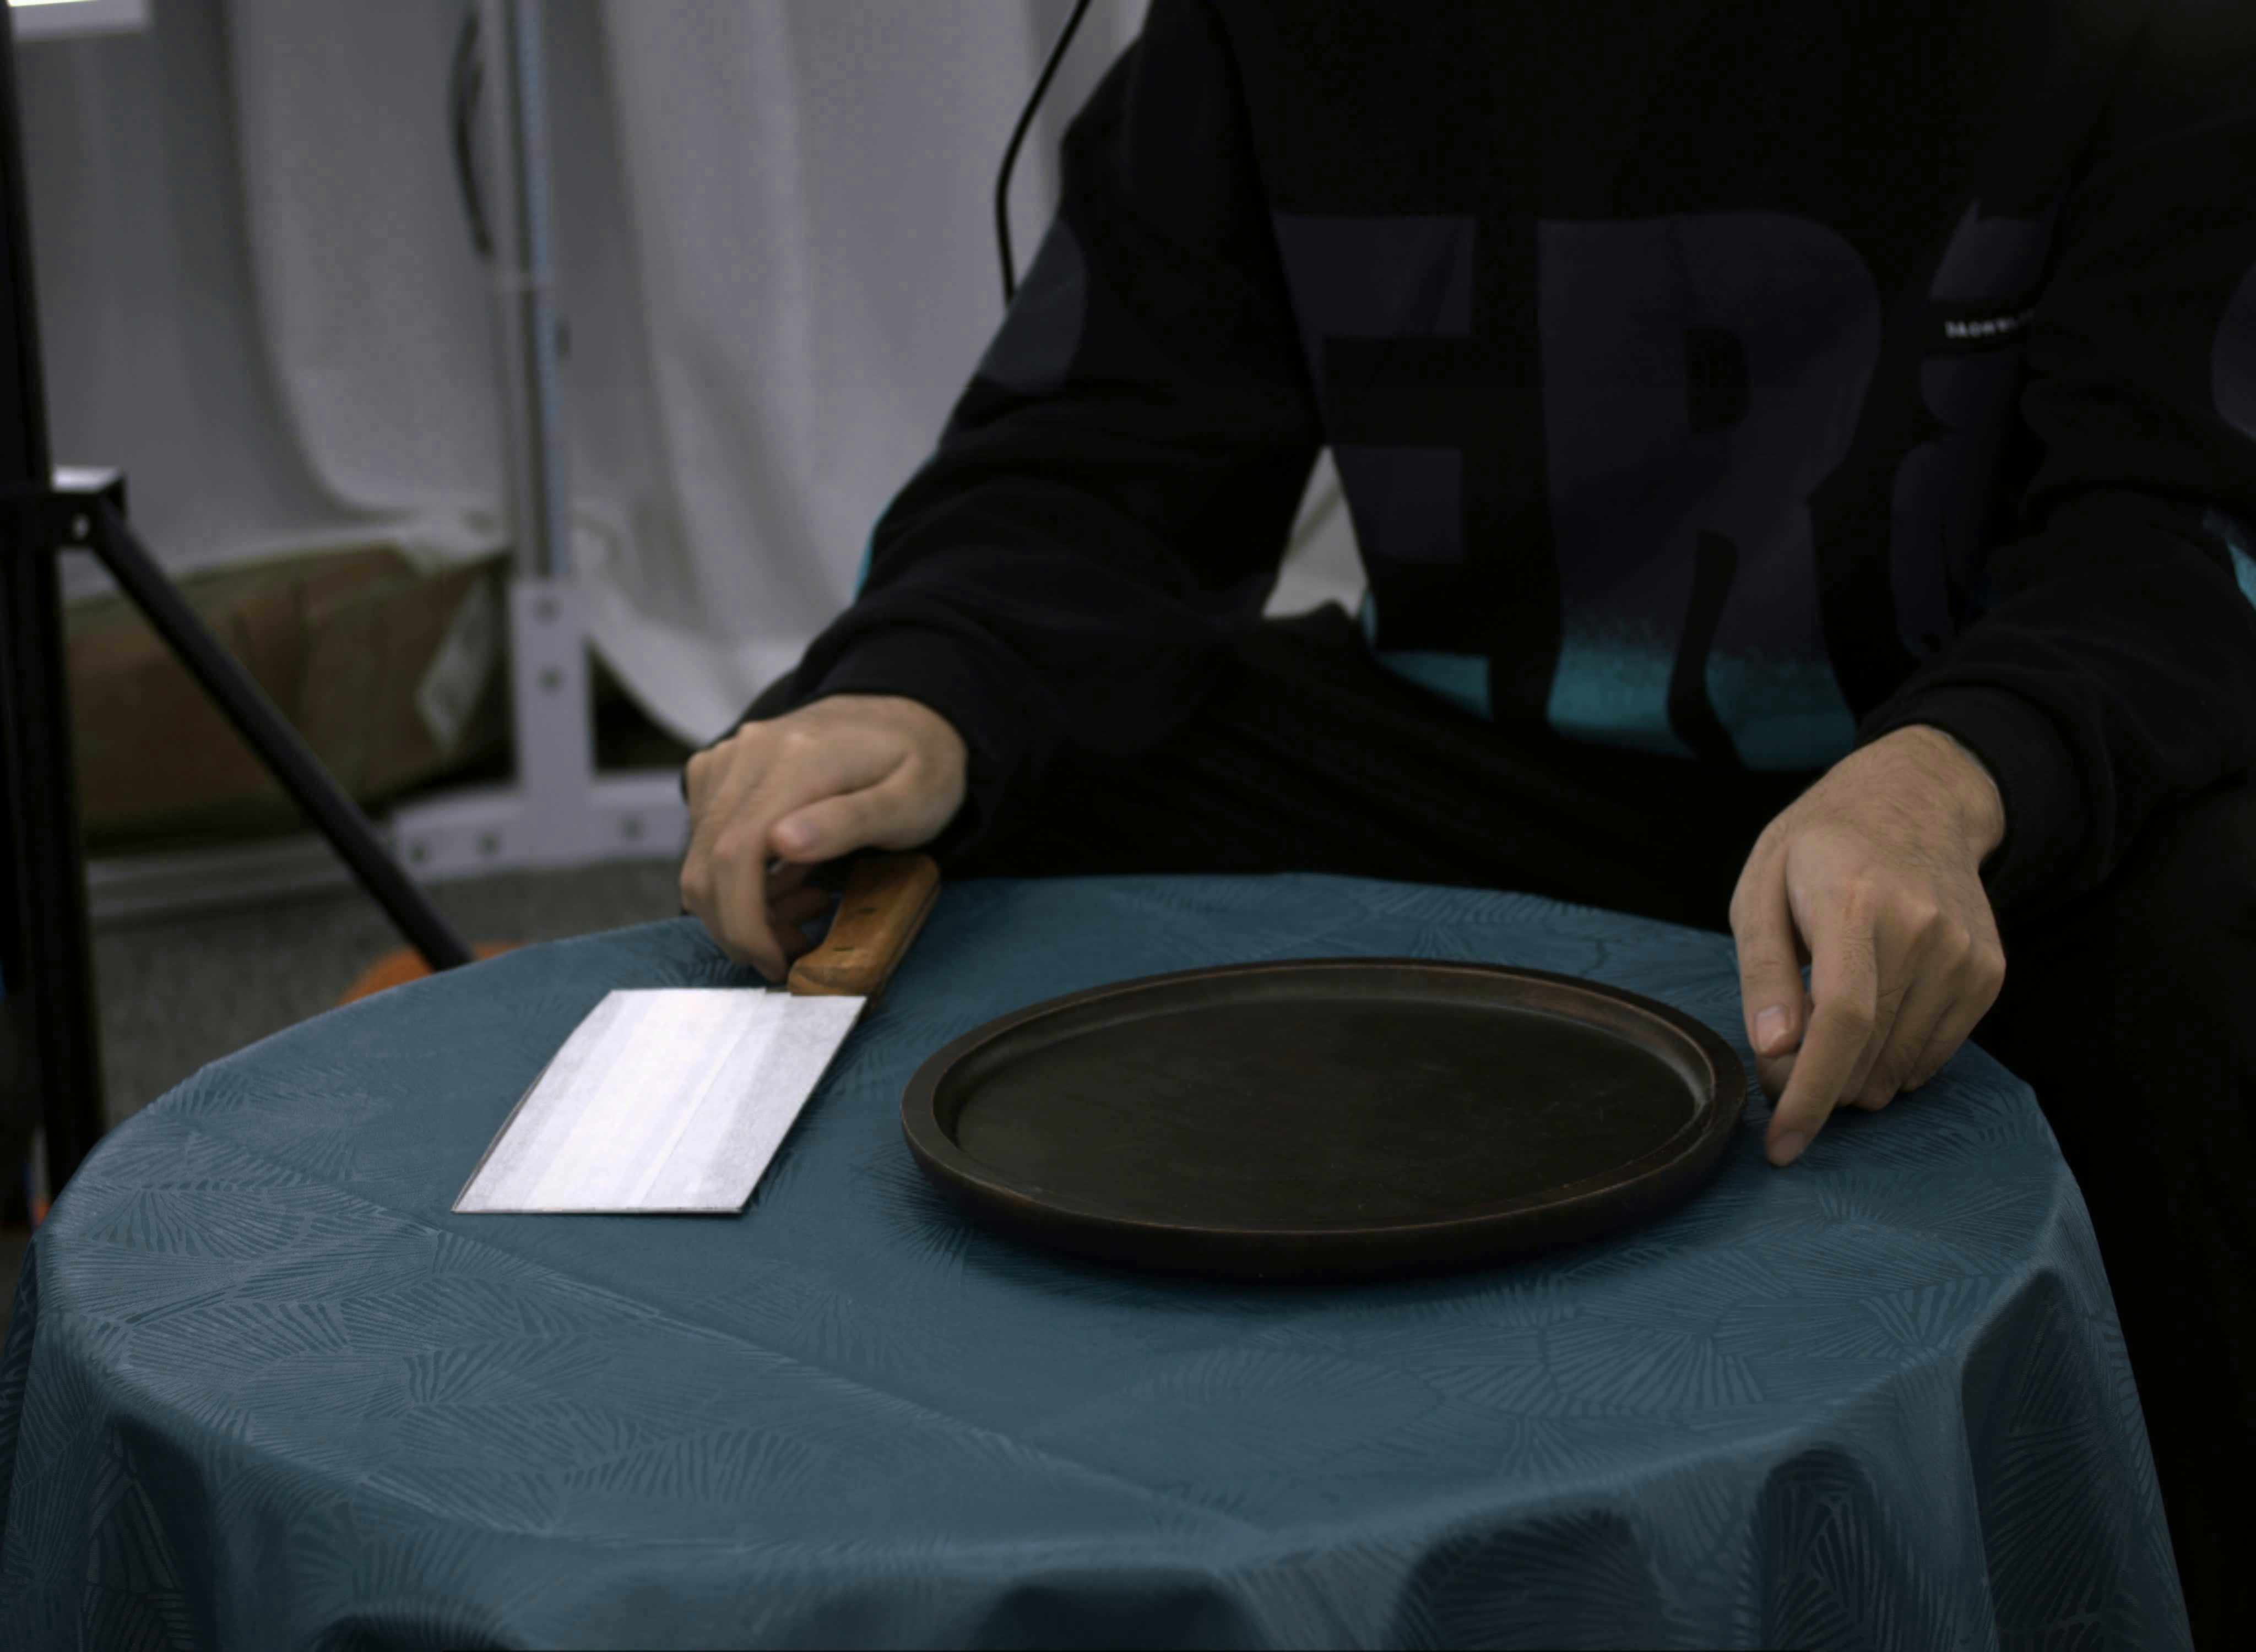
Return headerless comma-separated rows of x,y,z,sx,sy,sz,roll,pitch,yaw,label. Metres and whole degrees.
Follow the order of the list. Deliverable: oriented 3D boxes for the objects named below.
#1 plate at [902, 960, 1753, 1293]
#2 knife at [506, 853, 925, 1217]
0.059,0.086,1.578,0.253,0.029,0.256,-2,17,-1,plate
-0.130,0.065,1.703,0.093,0.021,0.305,-1,18,10,knife
